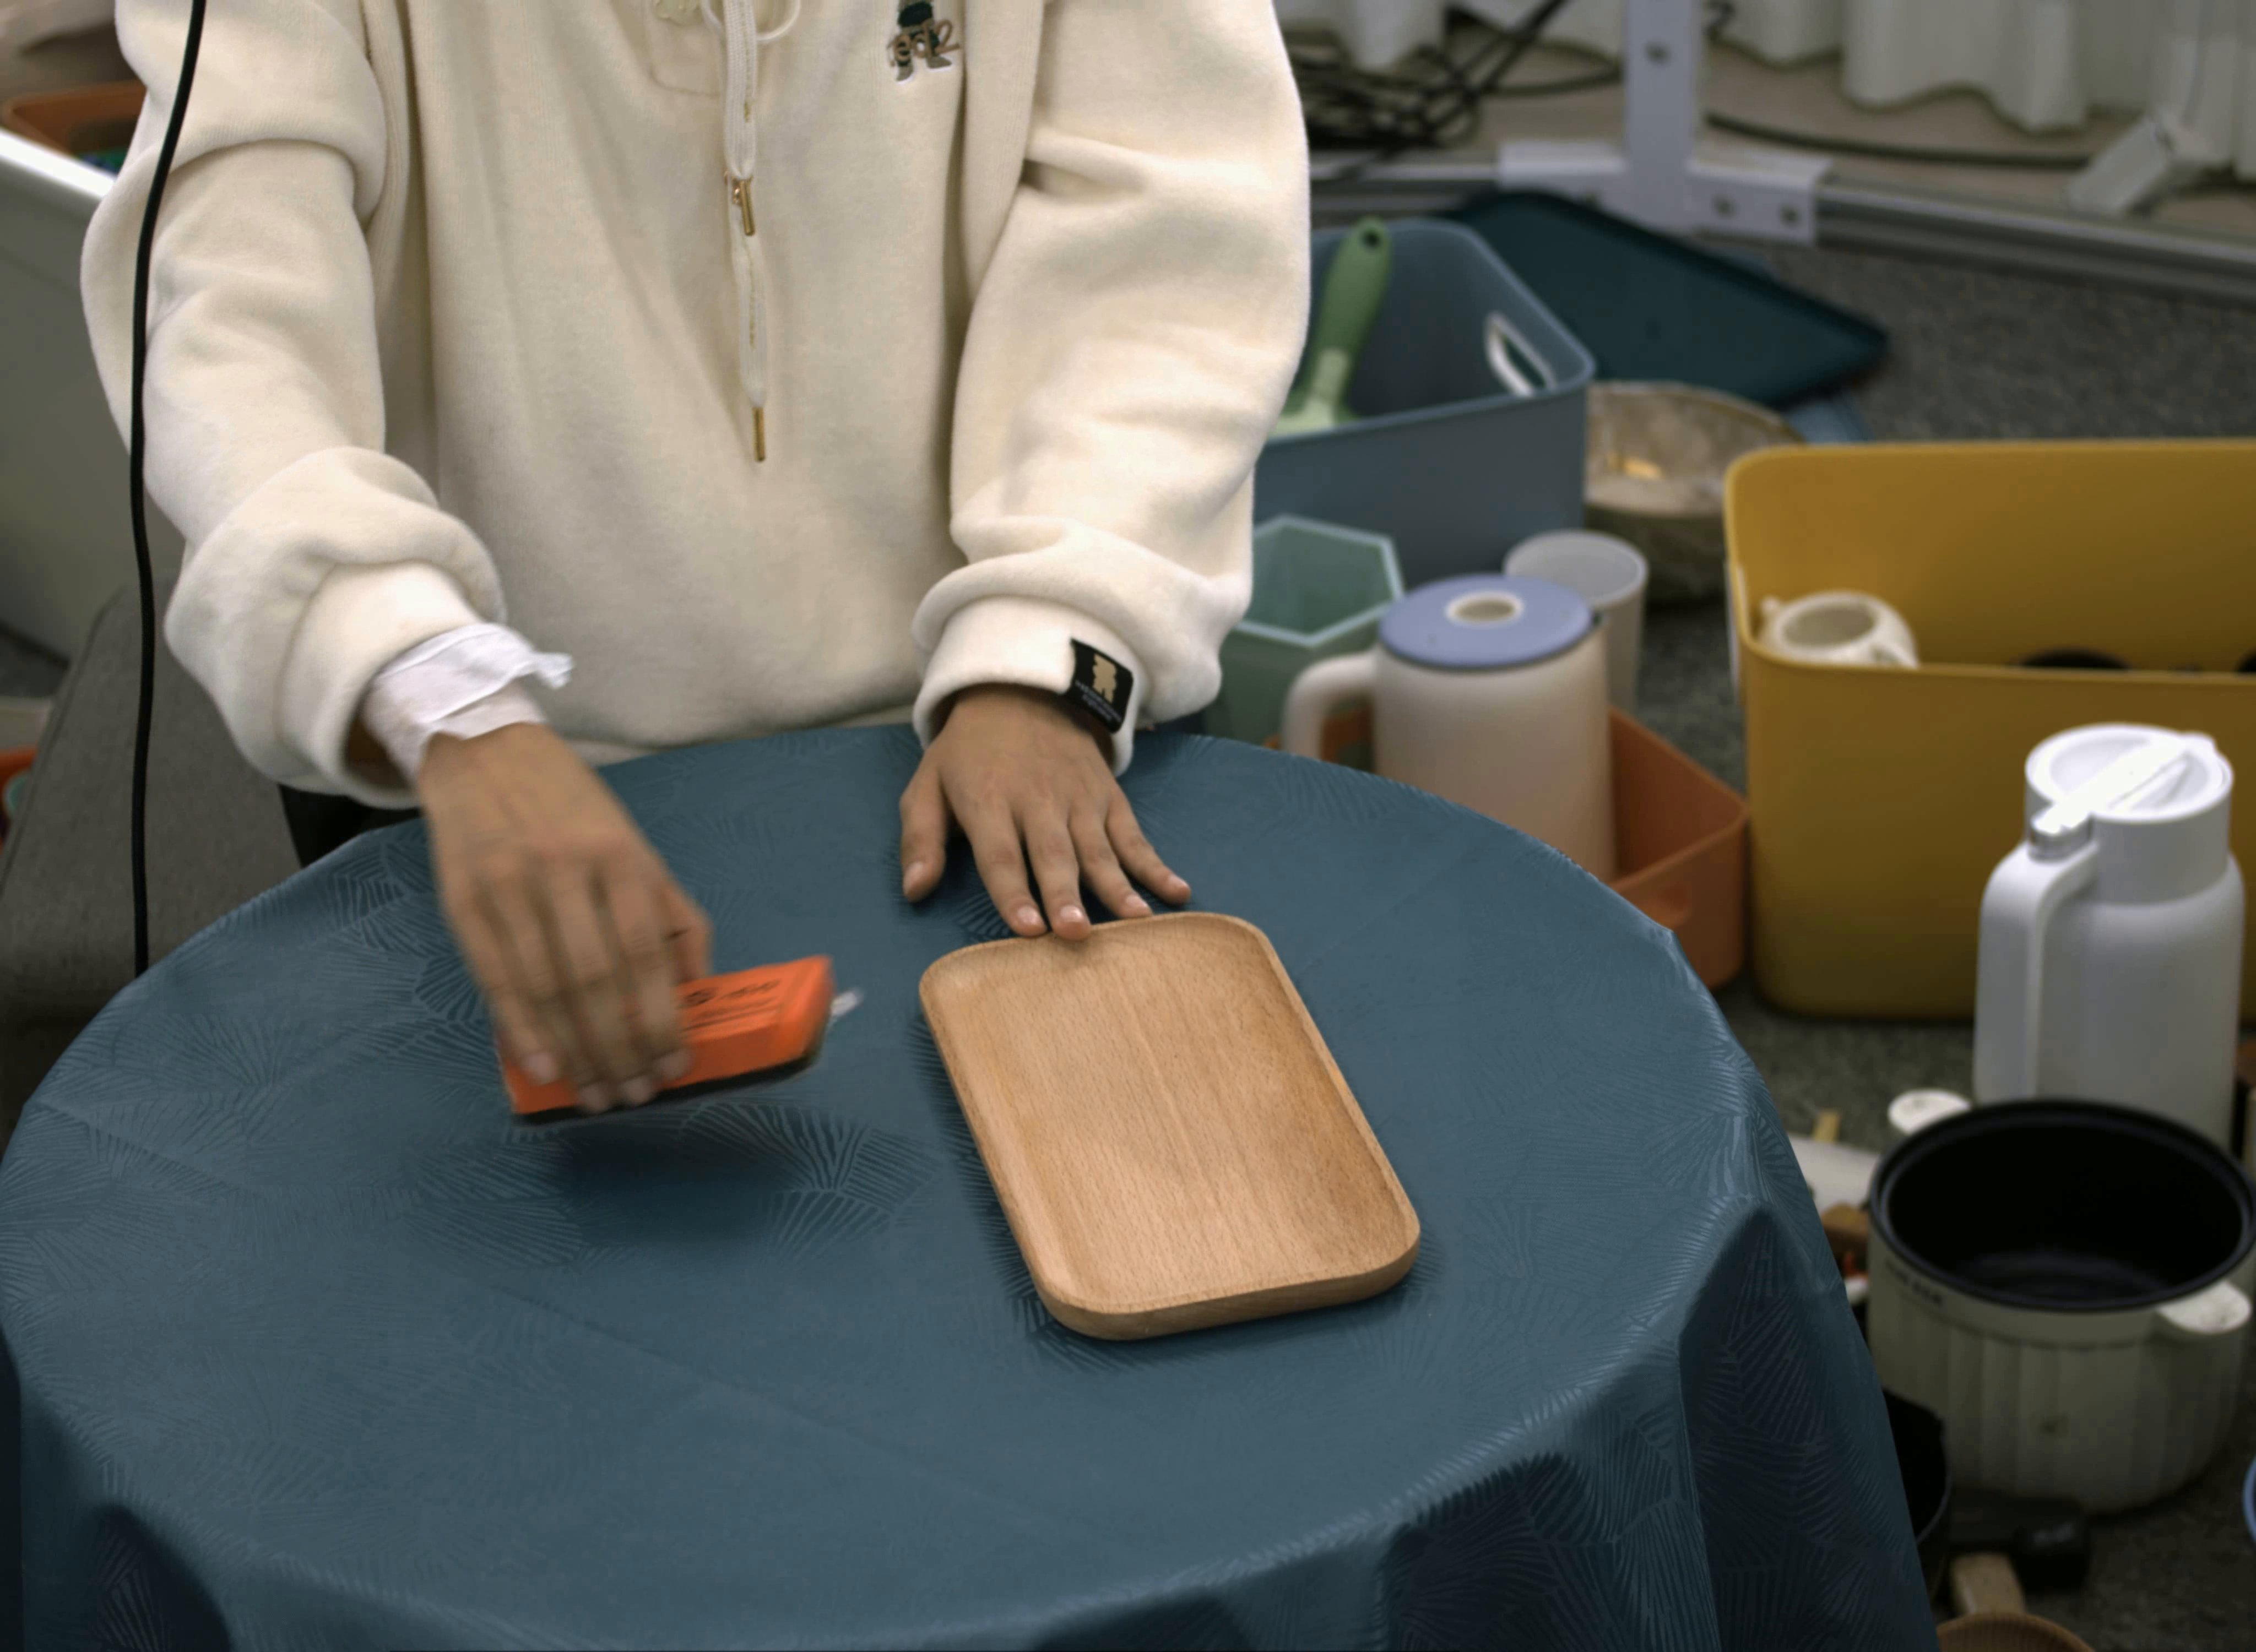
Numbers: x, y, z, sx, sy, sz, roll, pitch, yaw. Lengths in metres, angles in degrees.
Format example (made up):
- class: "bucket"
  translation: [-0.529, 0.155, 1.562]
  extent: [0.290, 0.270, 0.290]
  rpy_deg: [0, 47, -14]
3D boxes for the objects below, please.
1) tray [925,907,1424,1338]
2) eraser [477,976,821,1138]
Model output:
- class: "tray"
  translation: [0.012, 0.097, 1.888]
  extent: [0.130, 0.022, 0.253]
  rpy_deg: [-5, 27, -10]
- class: "eraser"
  translation: [-0.160, 0.078, 1.881]
  extent: [0.107, 0.023, 0.060]
  rpy_deg: [-10, 19, 16]
